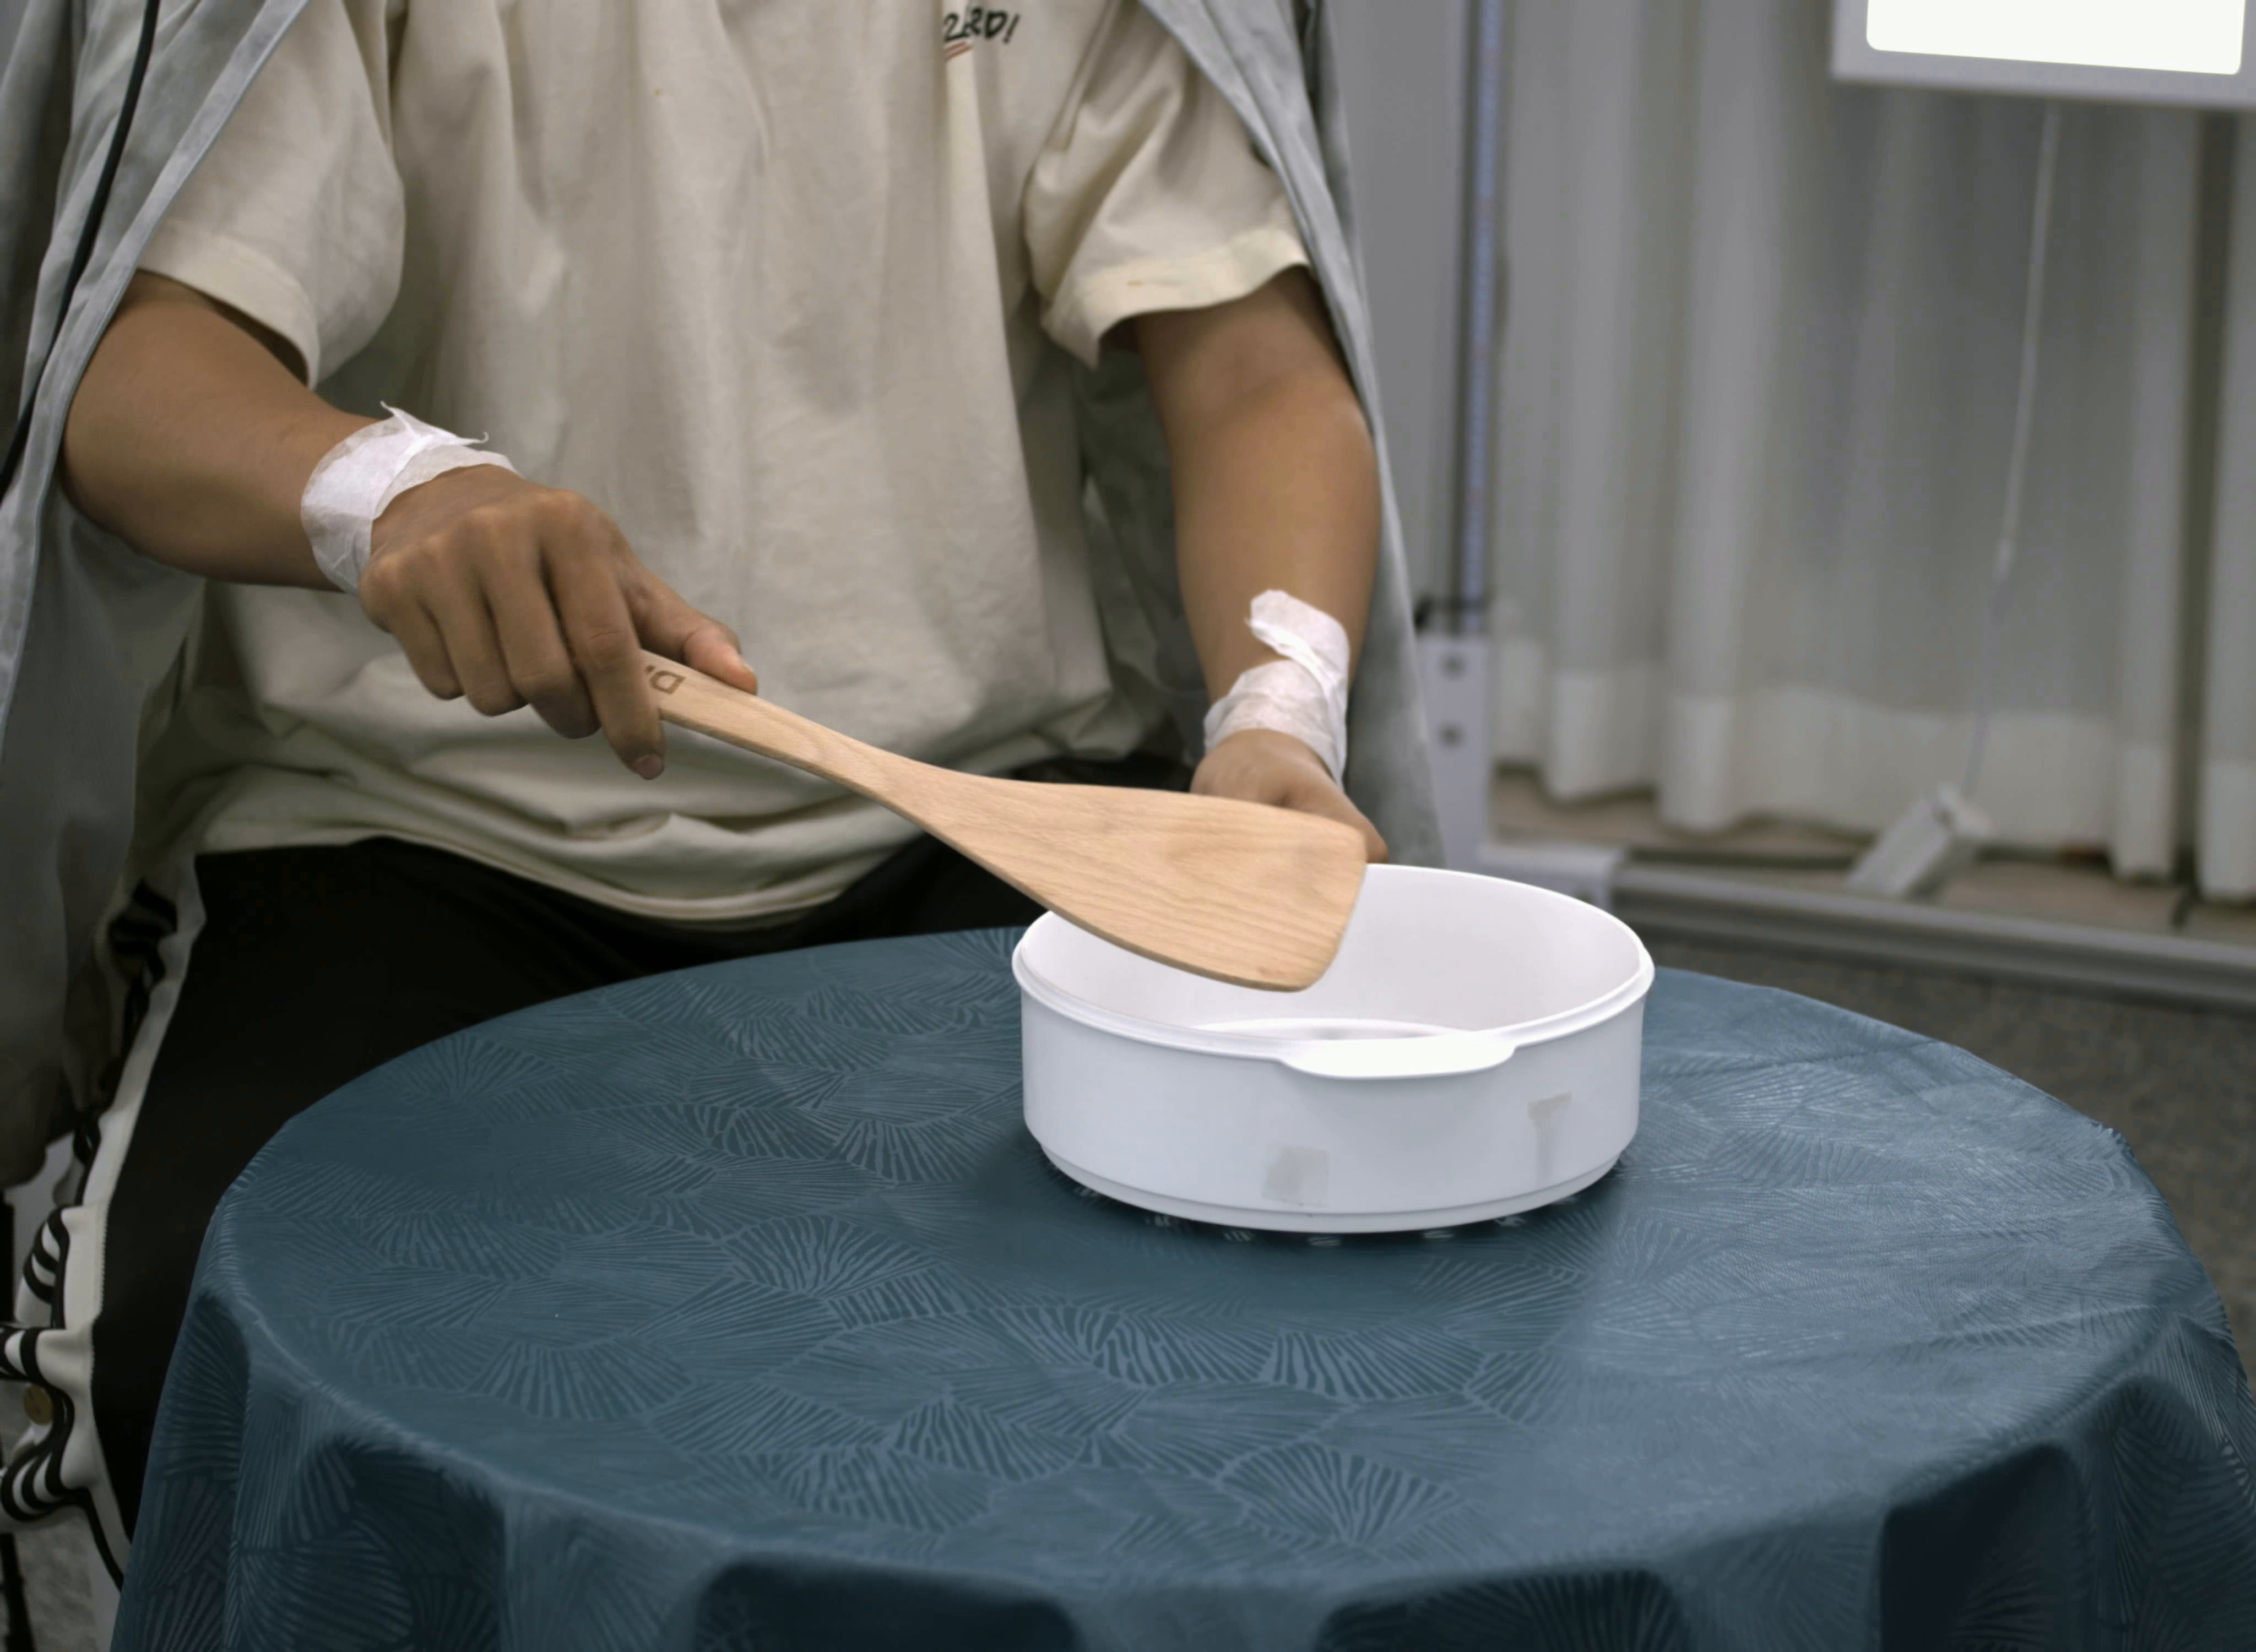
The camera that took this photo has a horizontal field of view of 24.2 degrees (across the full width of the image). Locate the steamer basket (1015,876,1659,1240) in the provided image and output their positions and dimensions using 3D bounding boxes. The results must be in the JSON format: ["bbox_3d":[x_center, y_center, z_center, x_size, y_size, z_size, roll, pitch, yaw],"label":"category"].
[{"bbox_3d":[0.064,0.072,1.652,0.202,0.070,0.228,-1,15,-10],"label":"steamer basket"}]

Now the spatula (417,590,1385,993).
[{"bbox_3d":[-0.073,-0.020,1.616,0.325,0.017,0.080,20,42,14],"label":"spatula"}]
